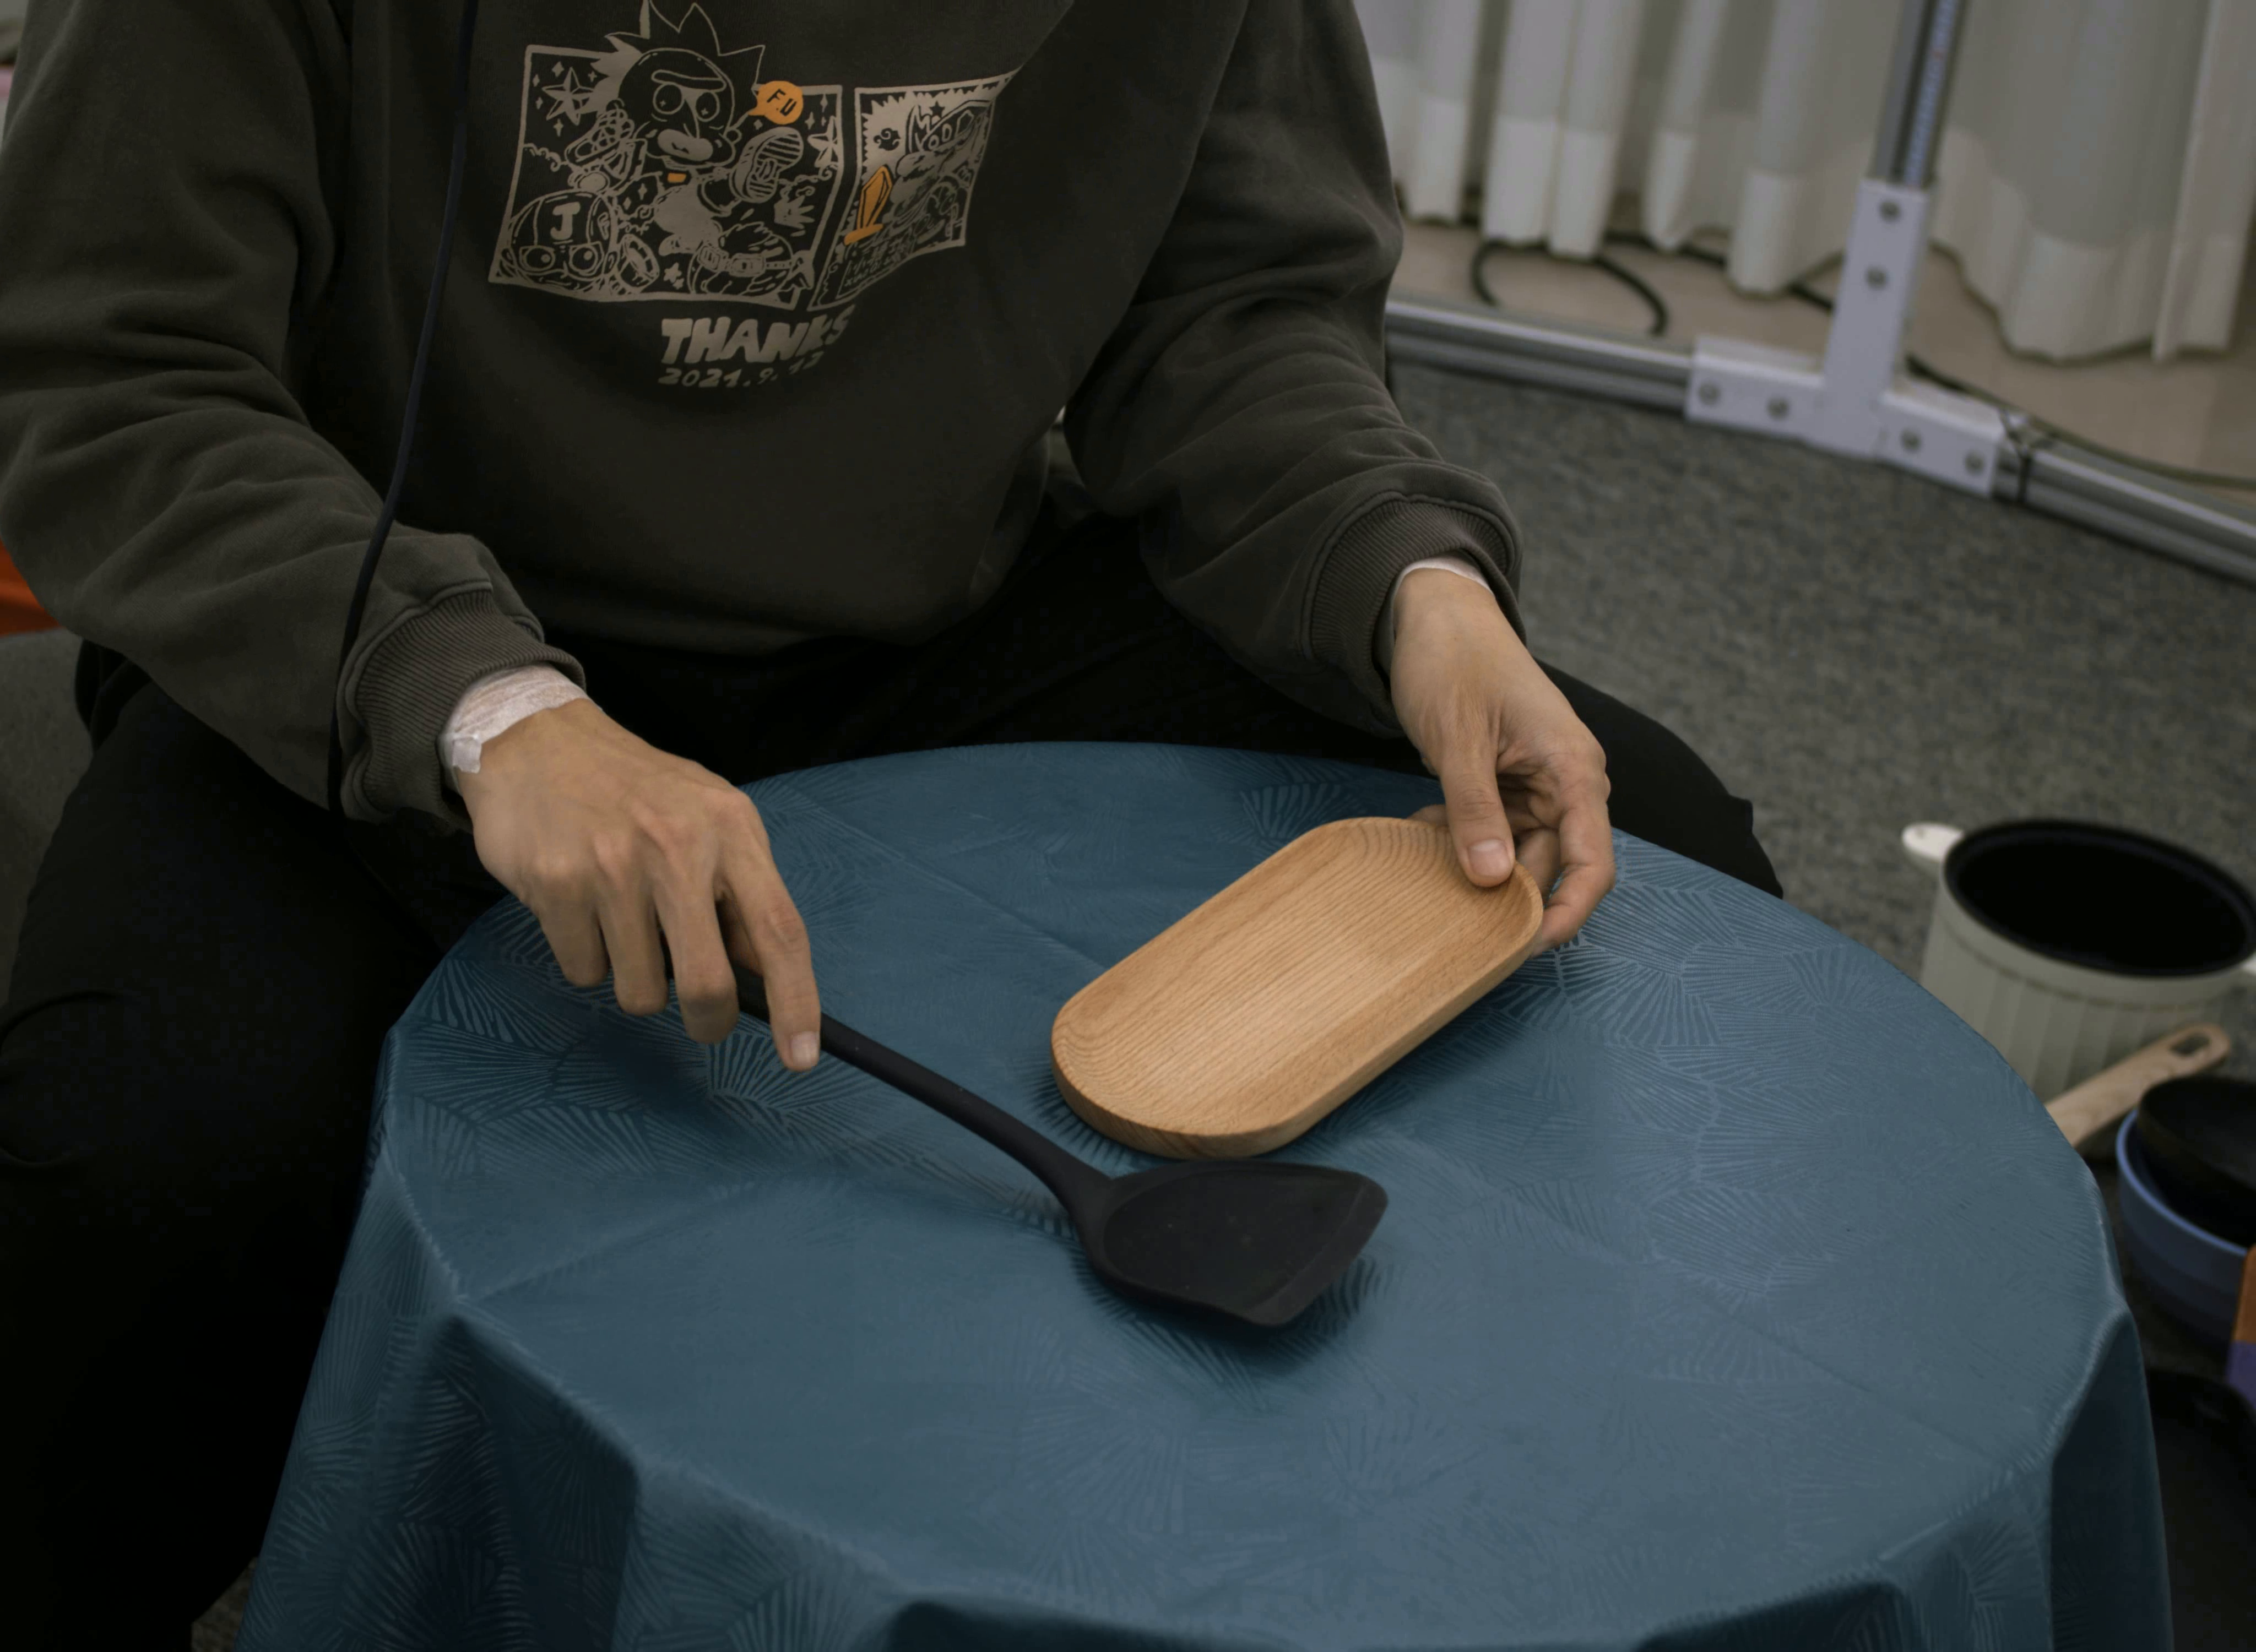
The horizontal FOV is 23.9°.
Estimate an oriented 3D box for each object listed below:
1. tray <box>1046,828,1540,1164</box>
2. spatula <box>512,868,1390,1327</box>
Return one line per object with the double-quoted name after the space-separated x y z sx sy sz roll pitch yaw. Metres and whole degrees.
0.061 0.059 1.905 0.102 0.020 0.231 23 38 30 "tray"
-0.070 0.082 1.792 0.327 0.040 0.099 29 34 15 "spatula"
